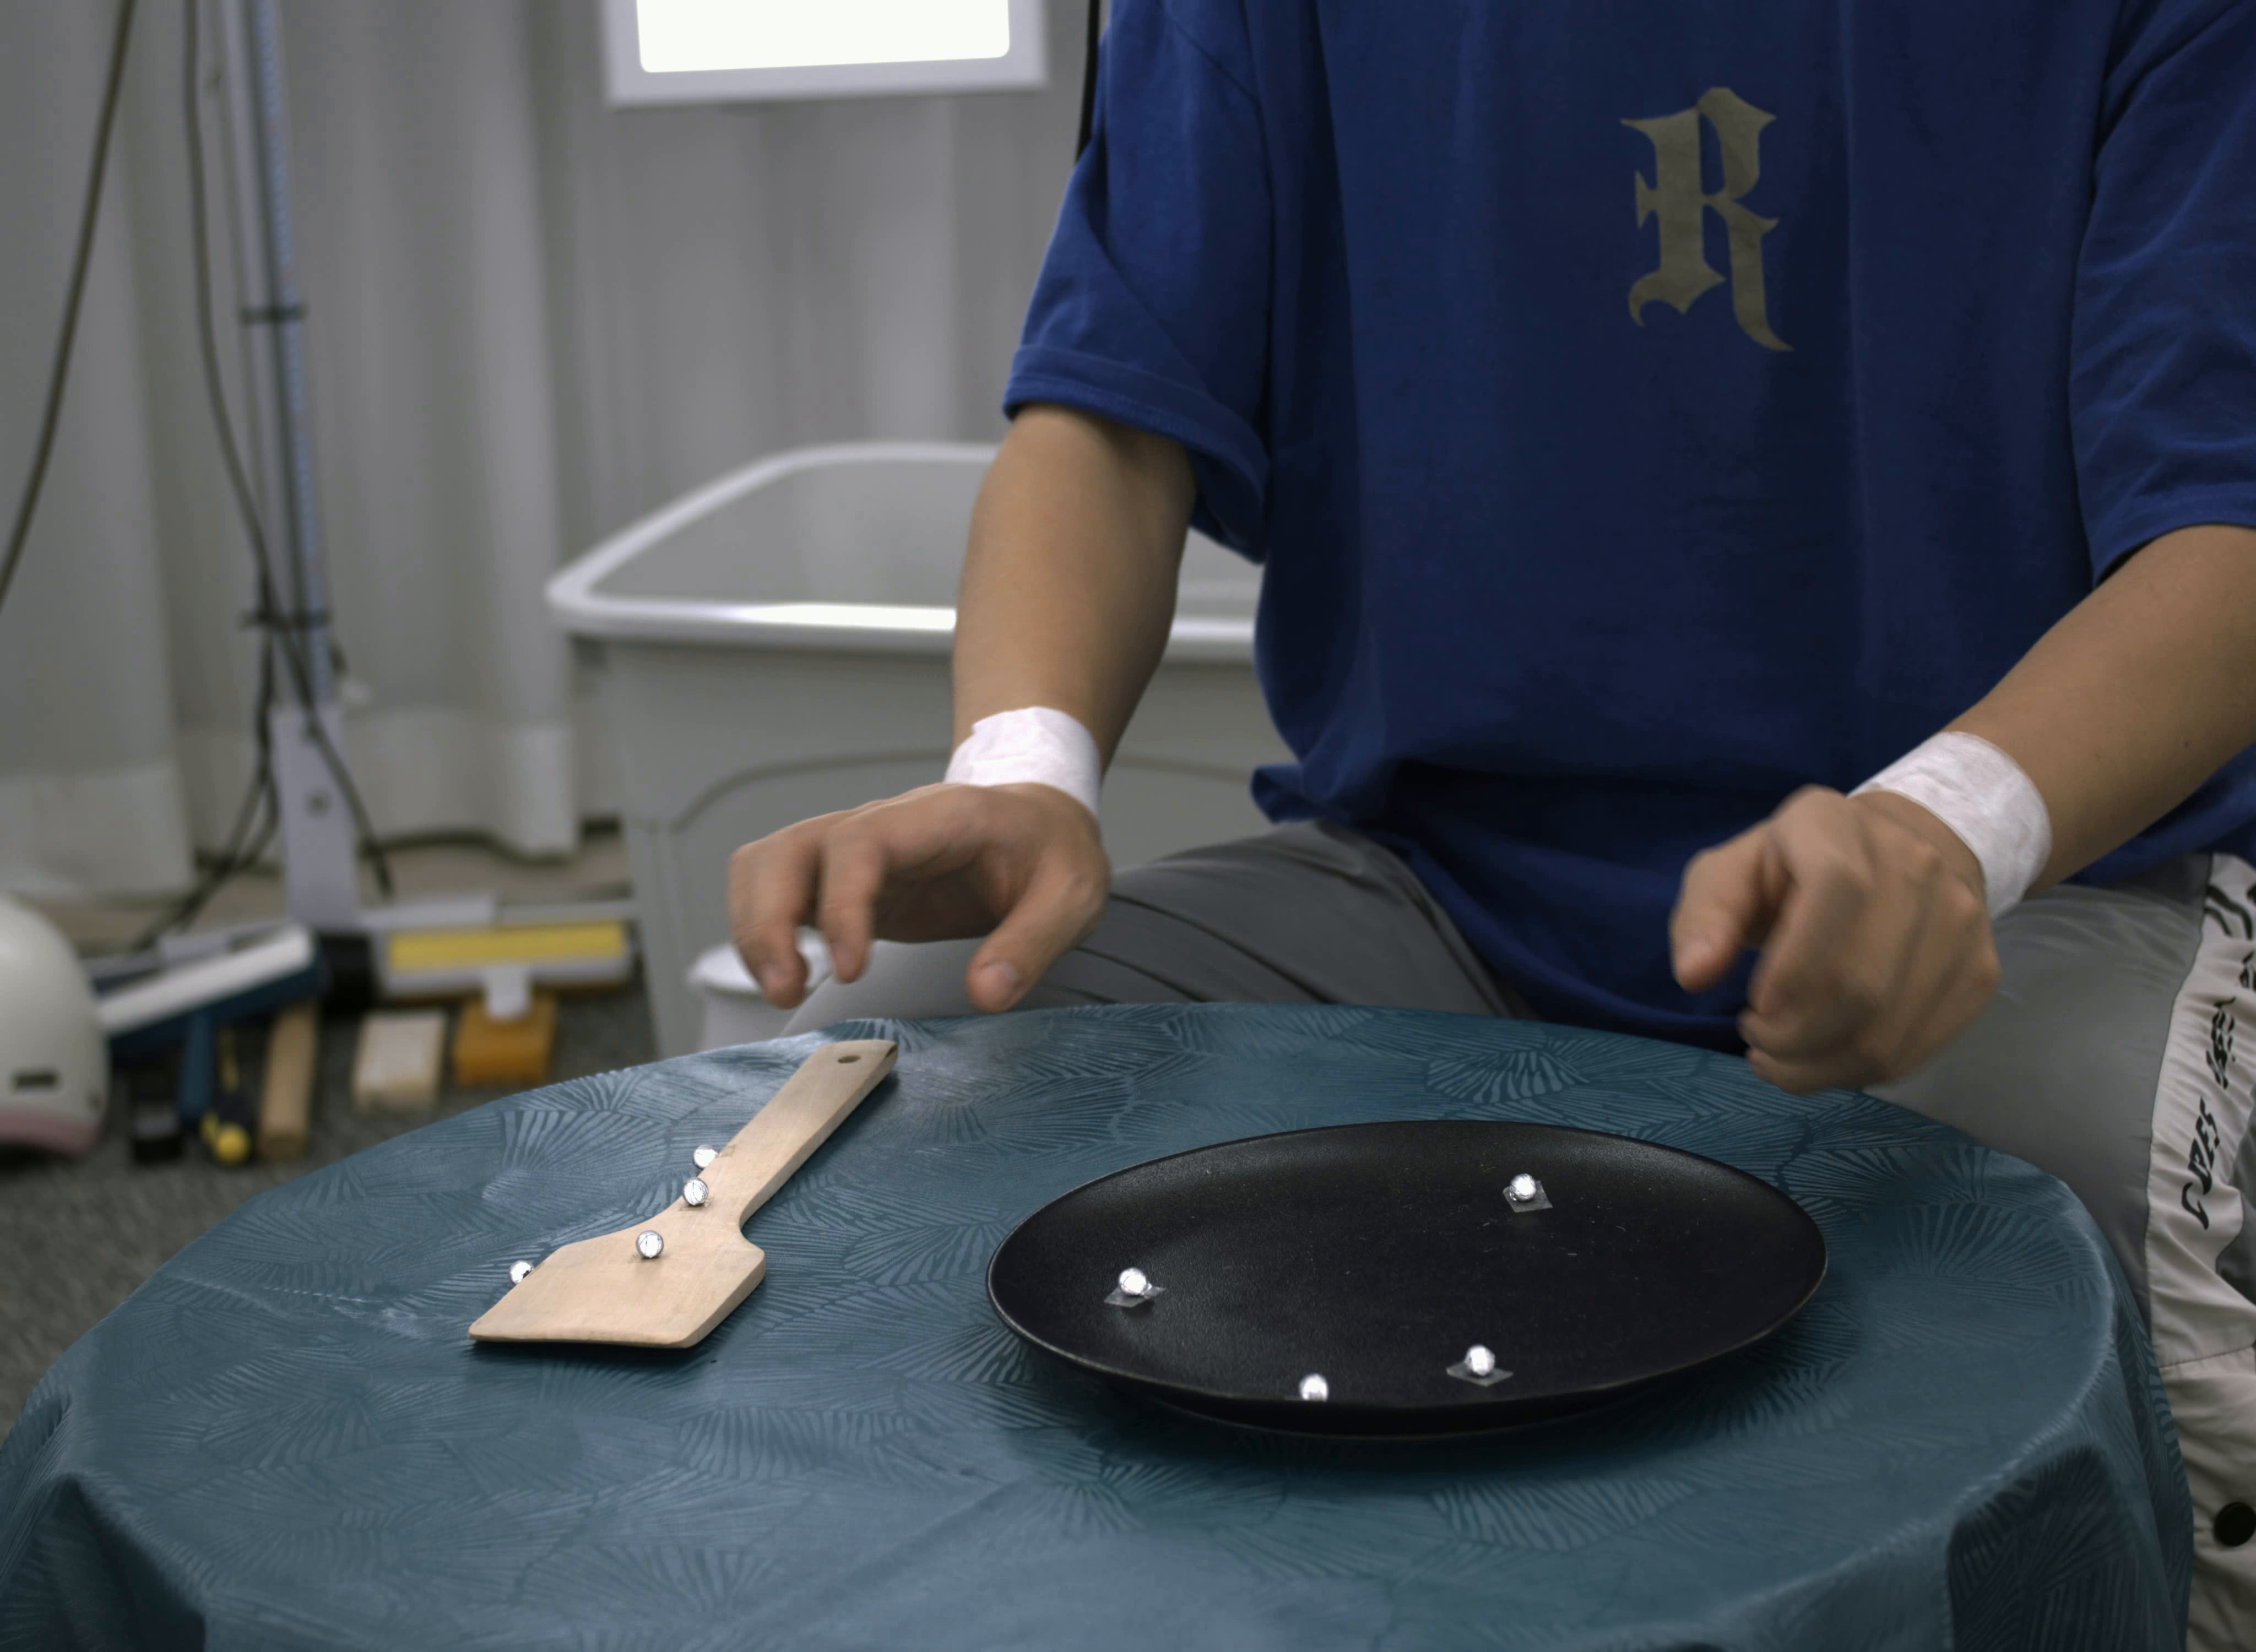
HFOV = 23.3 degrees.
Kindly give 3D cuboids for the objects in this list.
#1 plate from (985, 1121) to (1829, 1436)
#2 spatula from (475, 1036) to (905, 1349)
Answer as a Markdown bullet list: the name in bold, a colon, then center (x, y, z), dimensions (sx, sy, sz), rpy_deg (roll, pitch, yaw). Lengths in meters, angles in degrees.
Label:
- **plate**: center (0.080, 0.133, 1.579), dimensions (0.243, 0.023, 0.246), rpy_deg (-3, 15, 1)
- **spatula**: center (-0.124, 0.113, 1.721), dimensions (0.072, 0.010, 0.294), rpy_deg (0, 15, 15)
